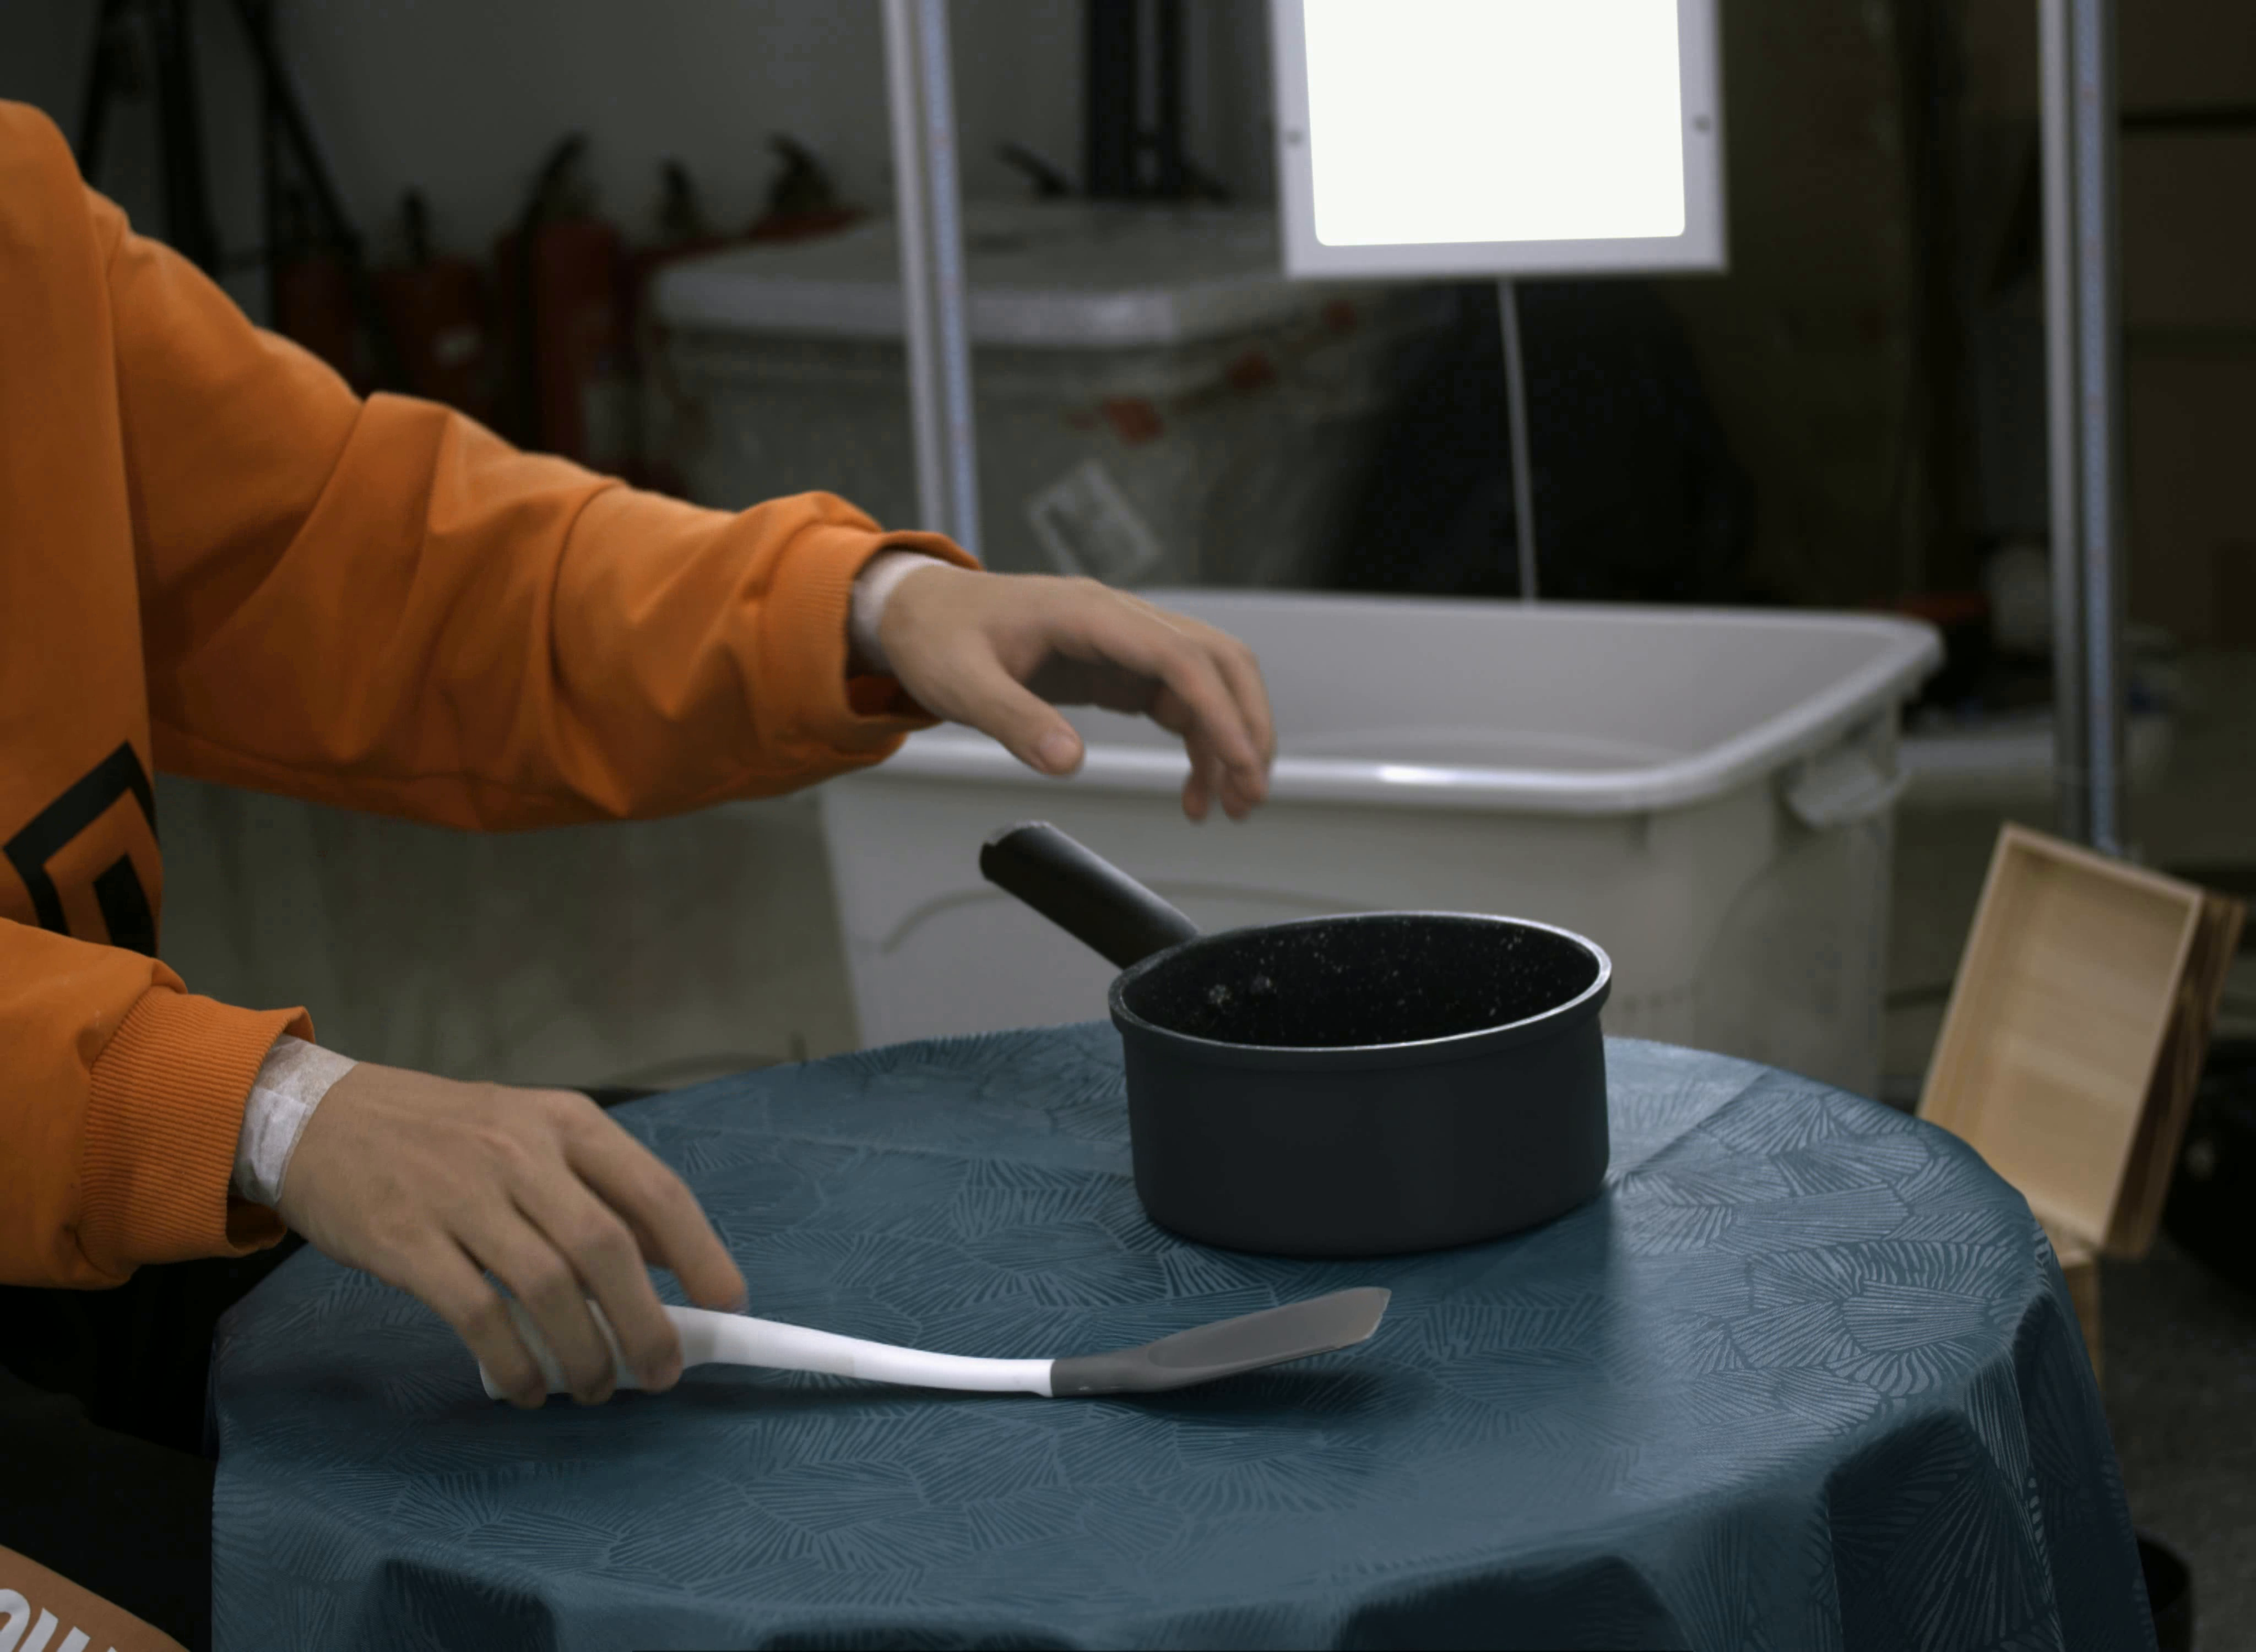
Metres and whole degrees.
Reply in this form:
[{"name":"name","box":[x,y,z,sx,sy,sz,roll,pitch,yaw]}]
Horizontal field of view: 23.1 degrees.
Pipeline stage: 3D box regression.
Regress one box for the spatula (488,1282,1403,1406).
[{"name":"spatula","box":[-0.057,0.161,1.710,0.290,0.032,0.058,-2,9,14]}]

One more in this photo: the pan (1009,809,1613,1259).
[{"name":"pan","box":[0.044,0.069,1.937,0.168,0.087,0.334,-11,16,-25]}]
